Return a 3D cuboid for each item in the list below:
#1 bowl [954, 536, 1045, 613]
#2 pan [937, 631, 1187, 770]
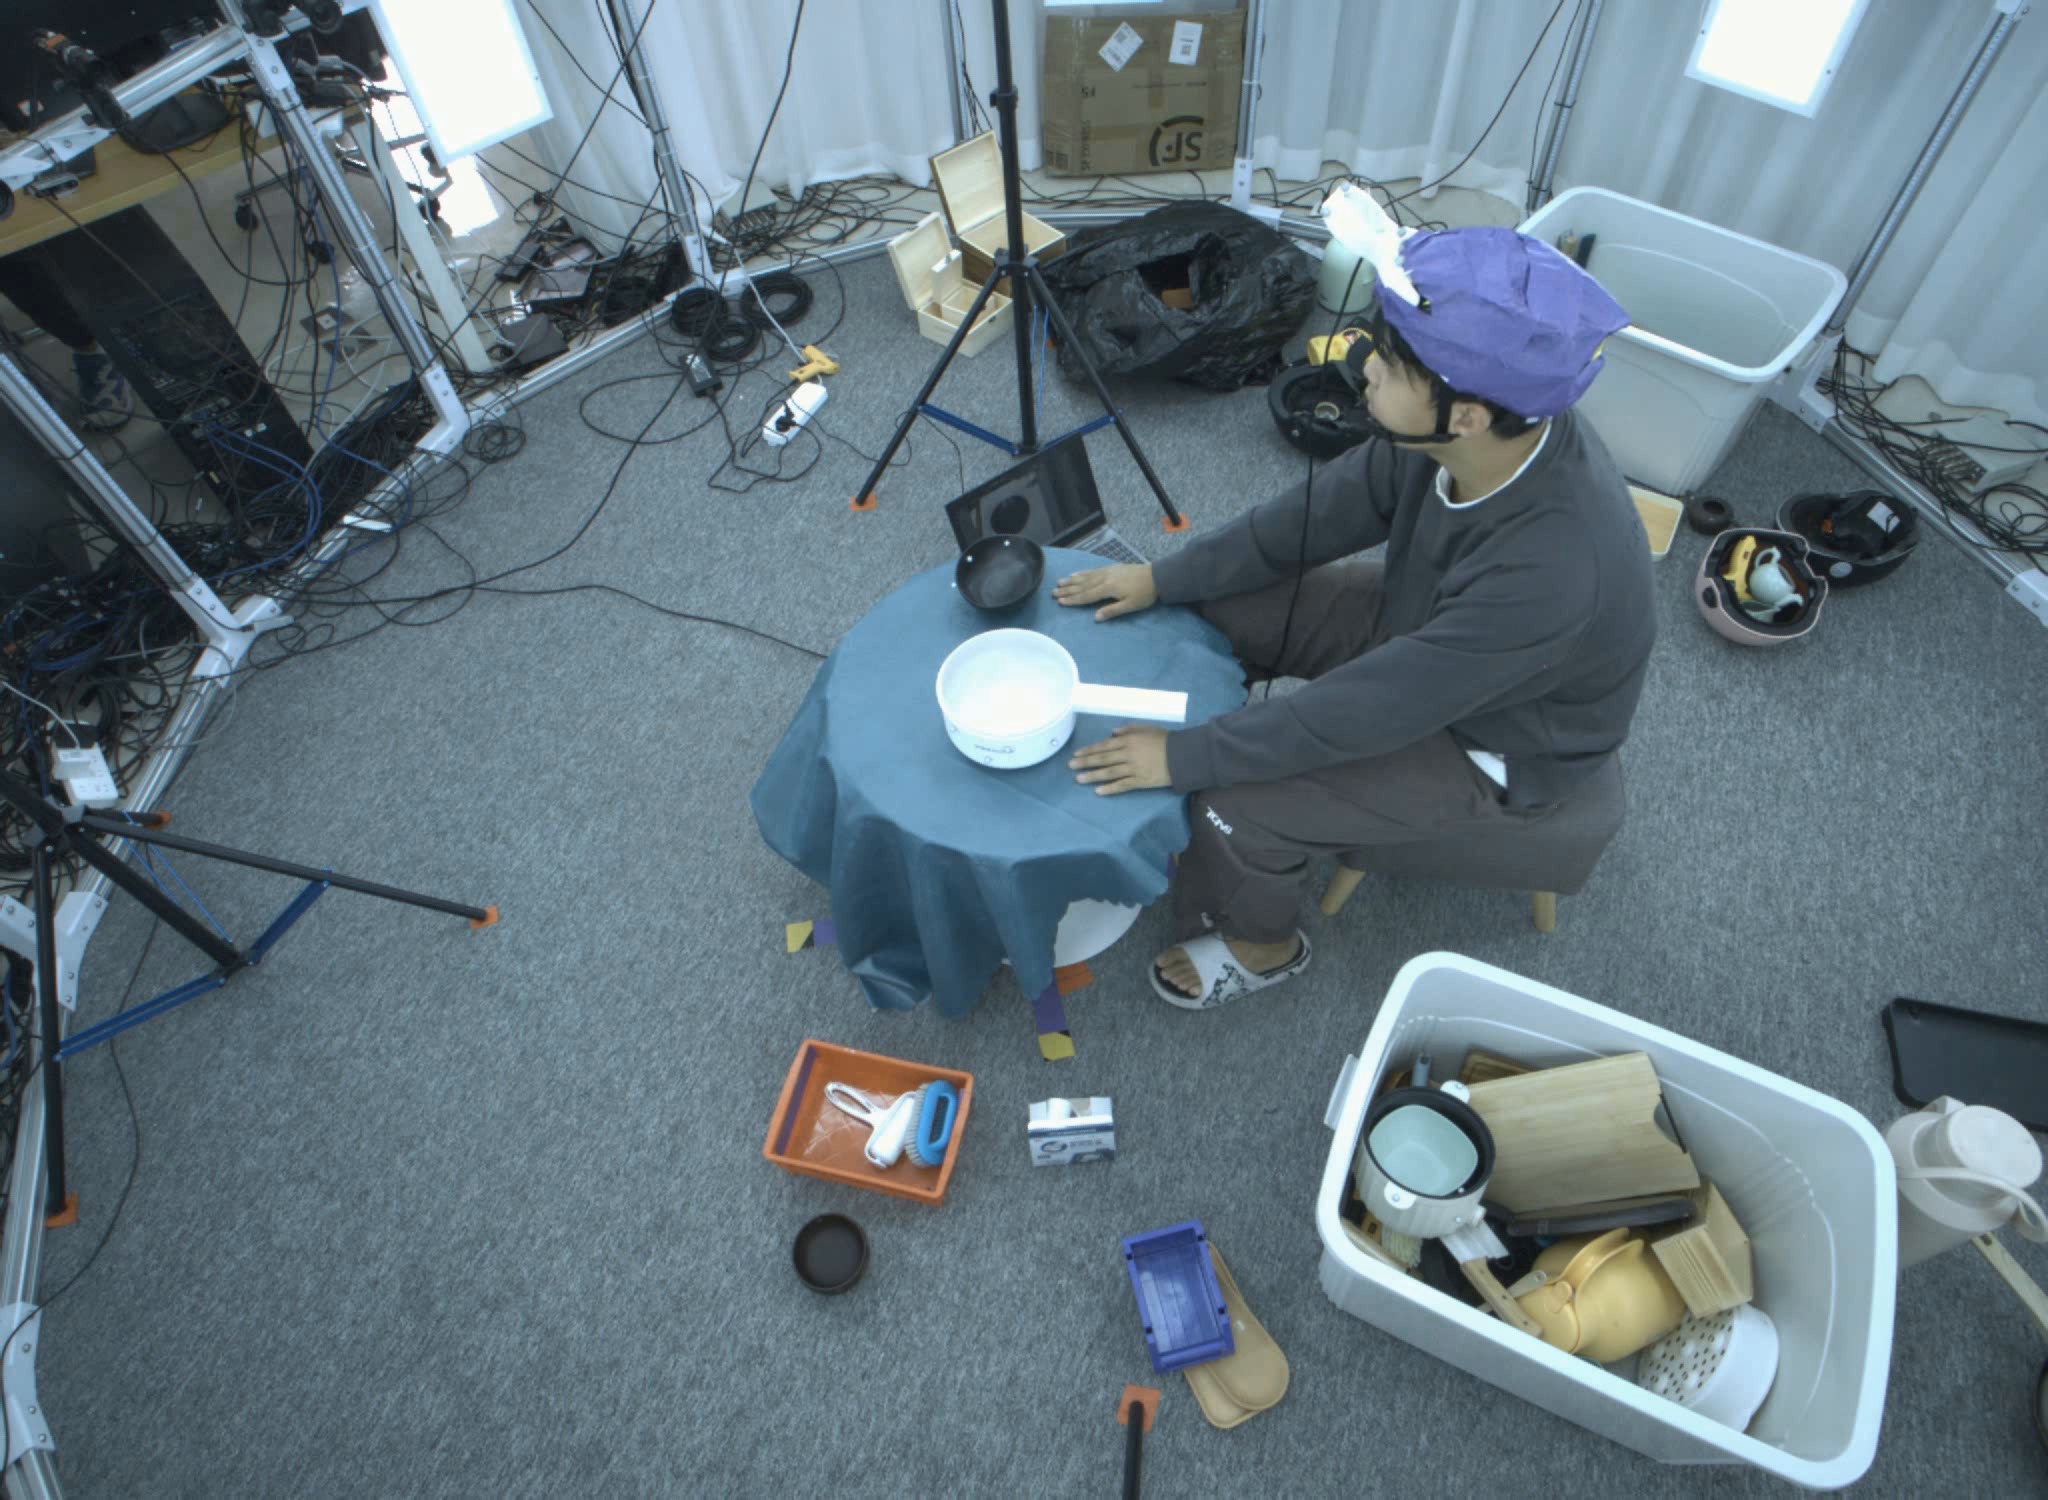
[{"bbox_3d":[-0.037,-0.270,1.939,0.136,0.067,0.170,17,55,13],"label":"bowl"},{"bbox_3d":[0.054,-0.057,1.772,0.354,0.103,0.200,8,54,4],"label":"pan"}]
